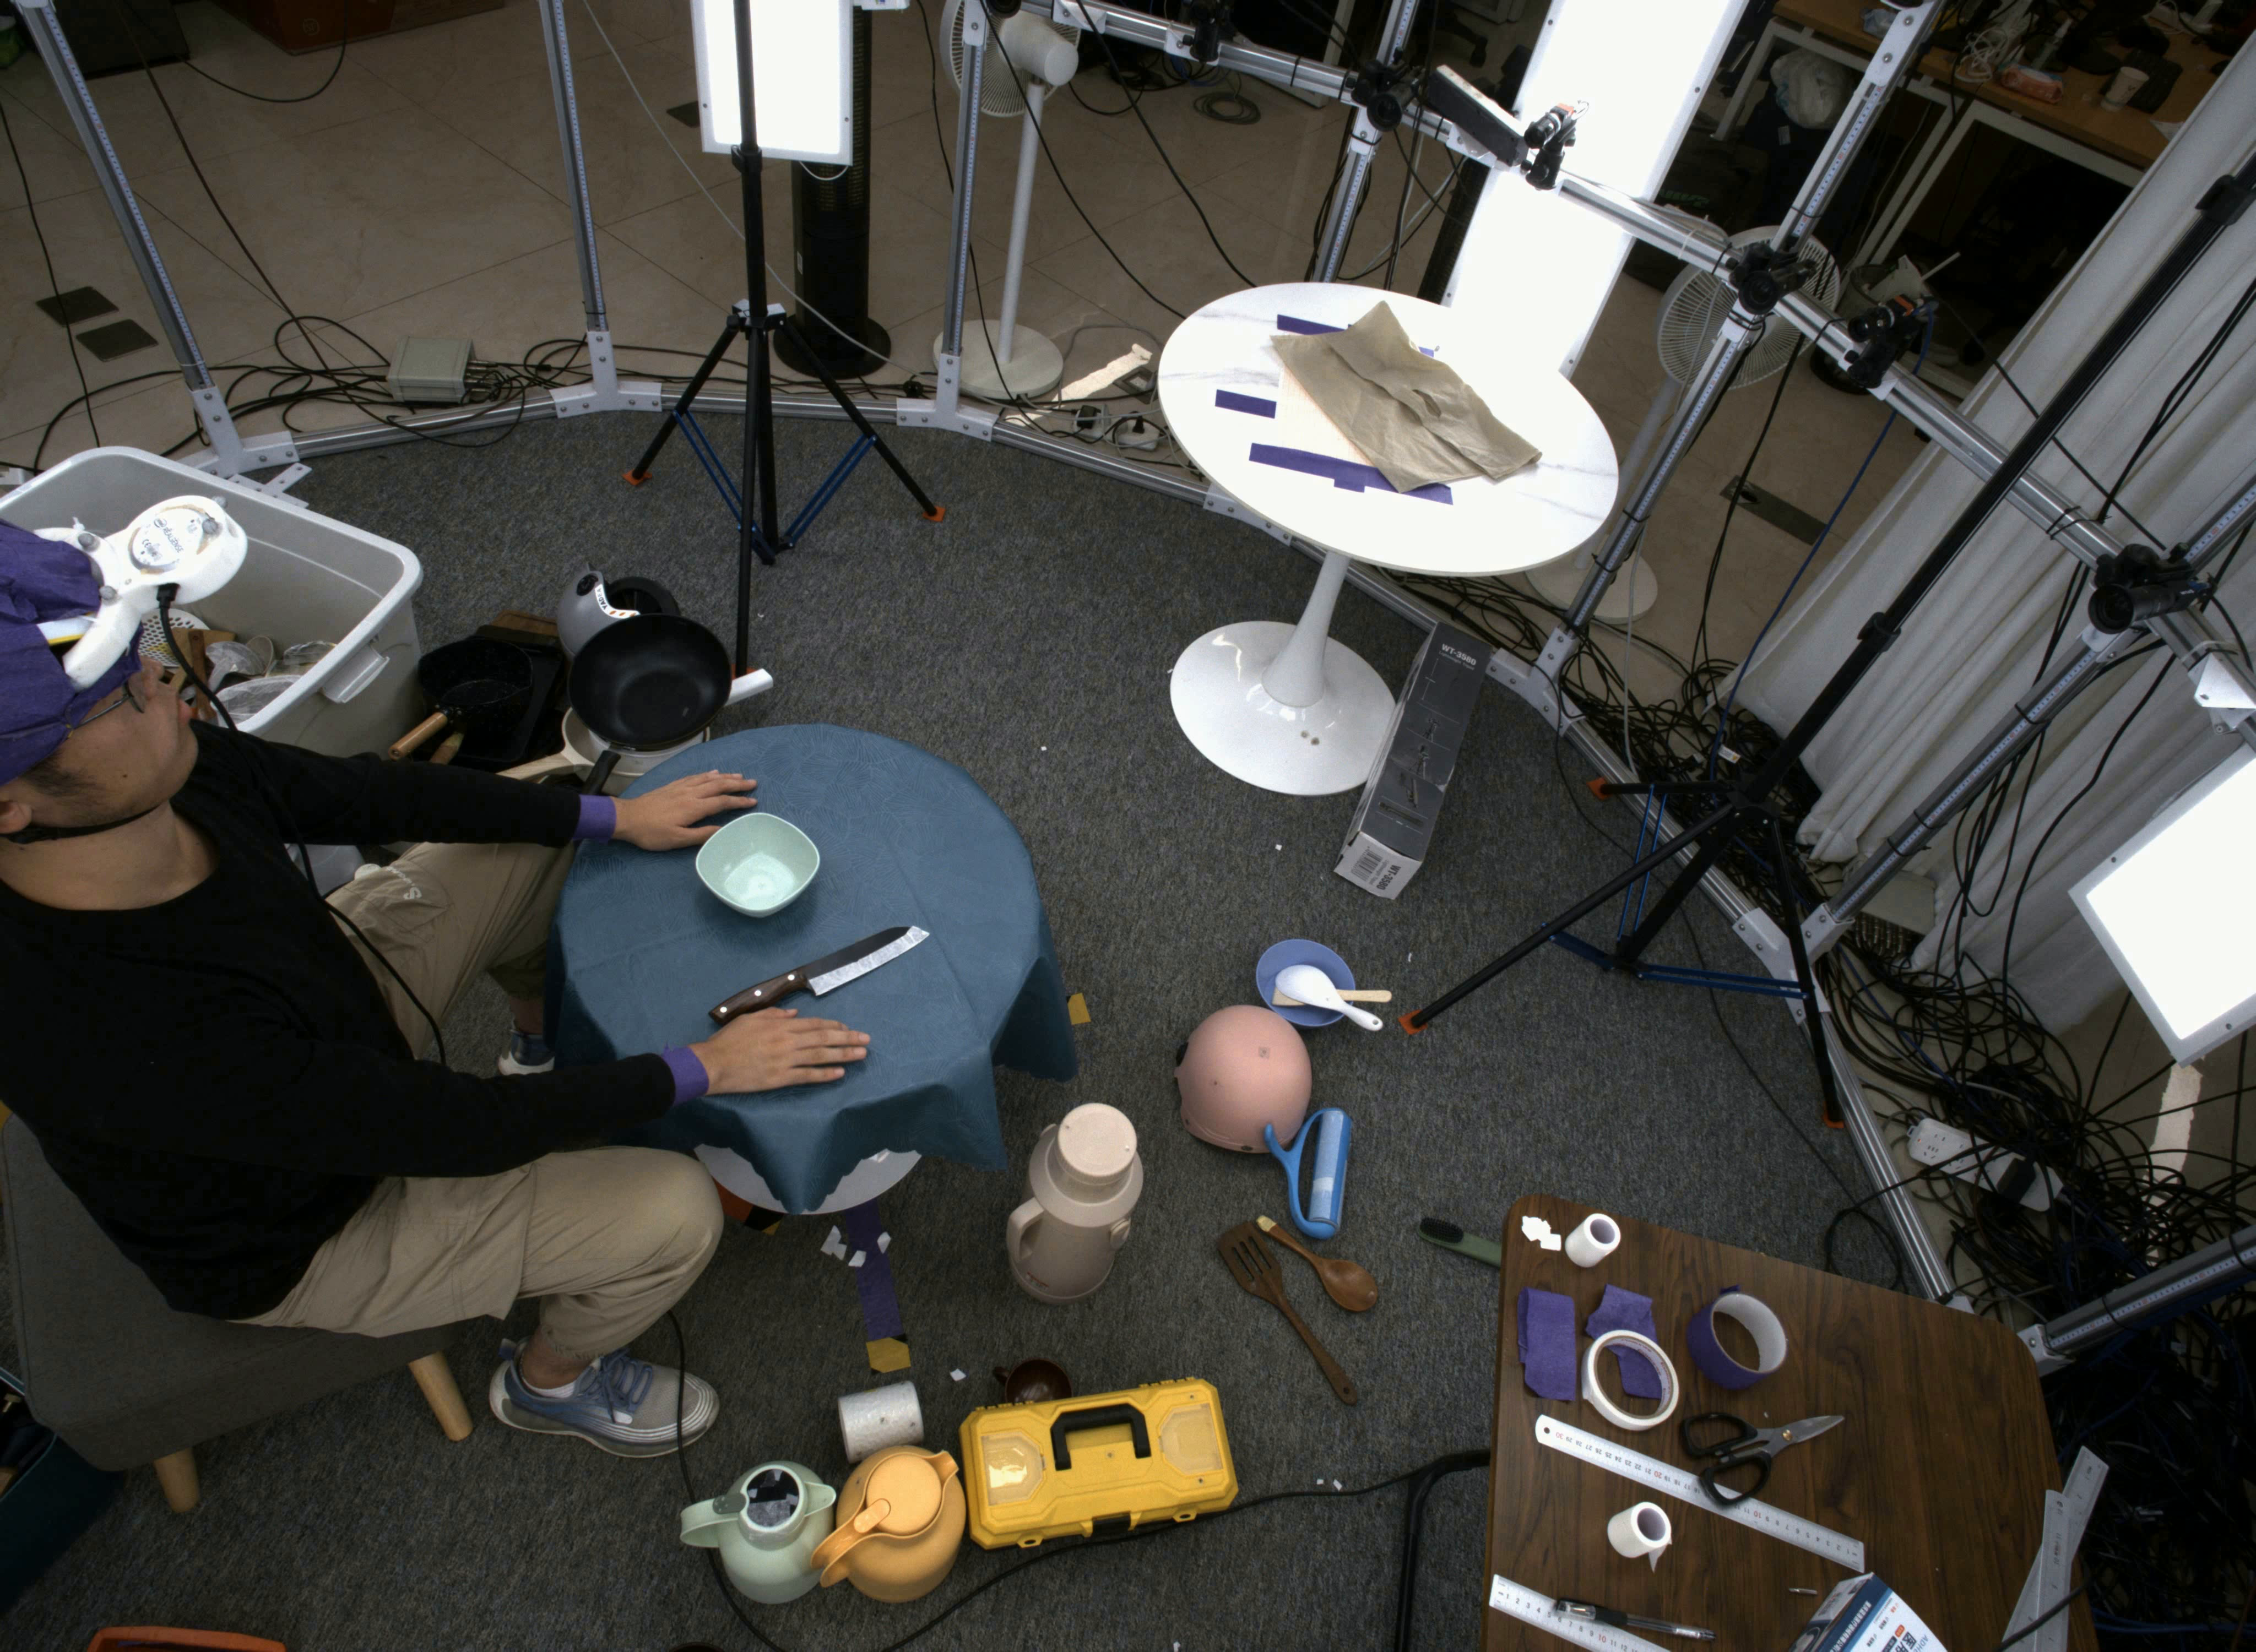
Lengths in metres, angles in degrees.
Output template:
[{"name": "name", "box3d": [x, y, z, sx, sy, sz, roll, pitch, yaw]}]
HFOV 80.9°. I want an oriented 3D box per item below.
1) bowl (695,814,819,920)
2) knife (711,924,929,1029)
[{"name": "bowl", "box3d": [-0.466, 0.060, 1.630, 0.151, 0.060, 0.148, 9, 51, -9]}, {"name": "knife", "box3d": [-0.372, 0.179, 1.591, 0.291, 0.020, 0.049, -22, 67, -31]}]
